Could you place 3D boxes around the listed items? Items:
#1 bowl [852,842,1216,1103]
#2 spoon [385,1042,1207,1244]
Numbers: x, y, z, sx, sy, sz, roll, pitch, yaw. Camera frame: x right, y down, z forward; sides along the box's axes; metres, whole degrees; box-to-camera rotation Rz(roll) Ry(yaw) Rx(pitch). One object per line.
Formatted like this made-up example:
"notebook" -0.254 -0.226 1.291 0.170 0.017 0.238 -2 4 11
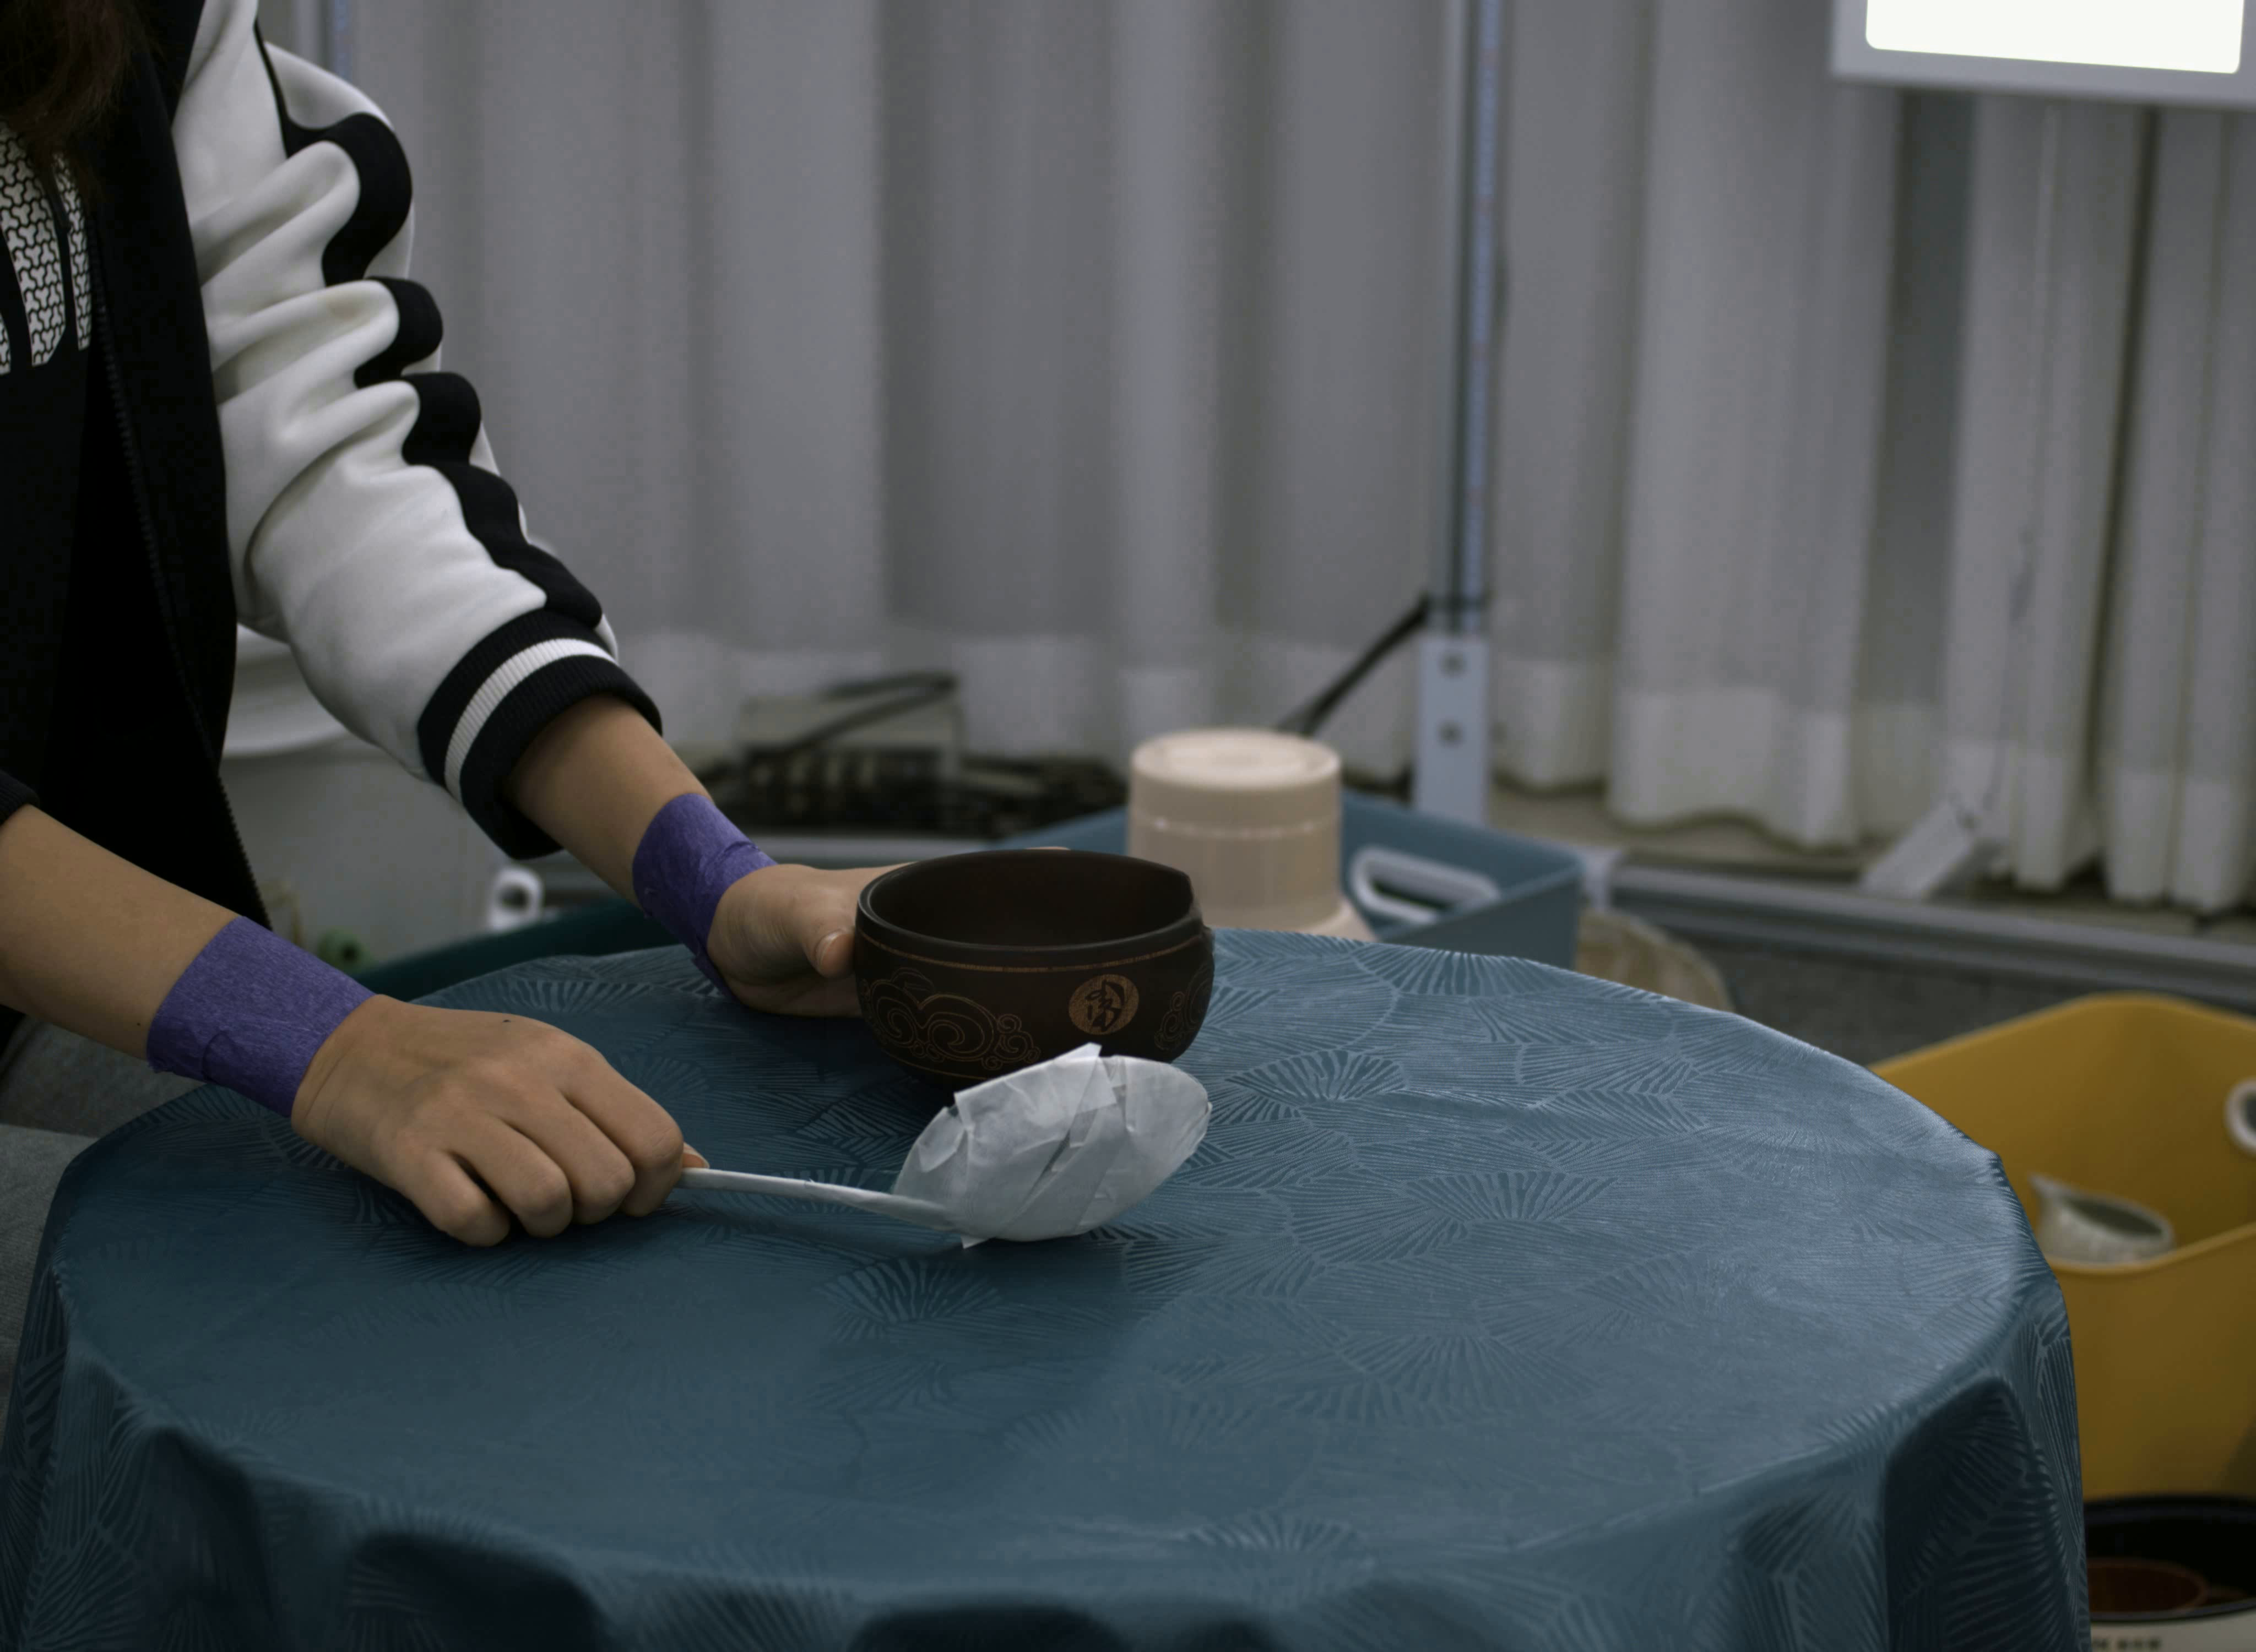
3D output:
"bowl" -0.030 0.054 1.695 0.117 0.070 0.117 1 16 0
"spoon" -0.105 0.089 1.601 0.274 0.059 0.102 4 -27 31
